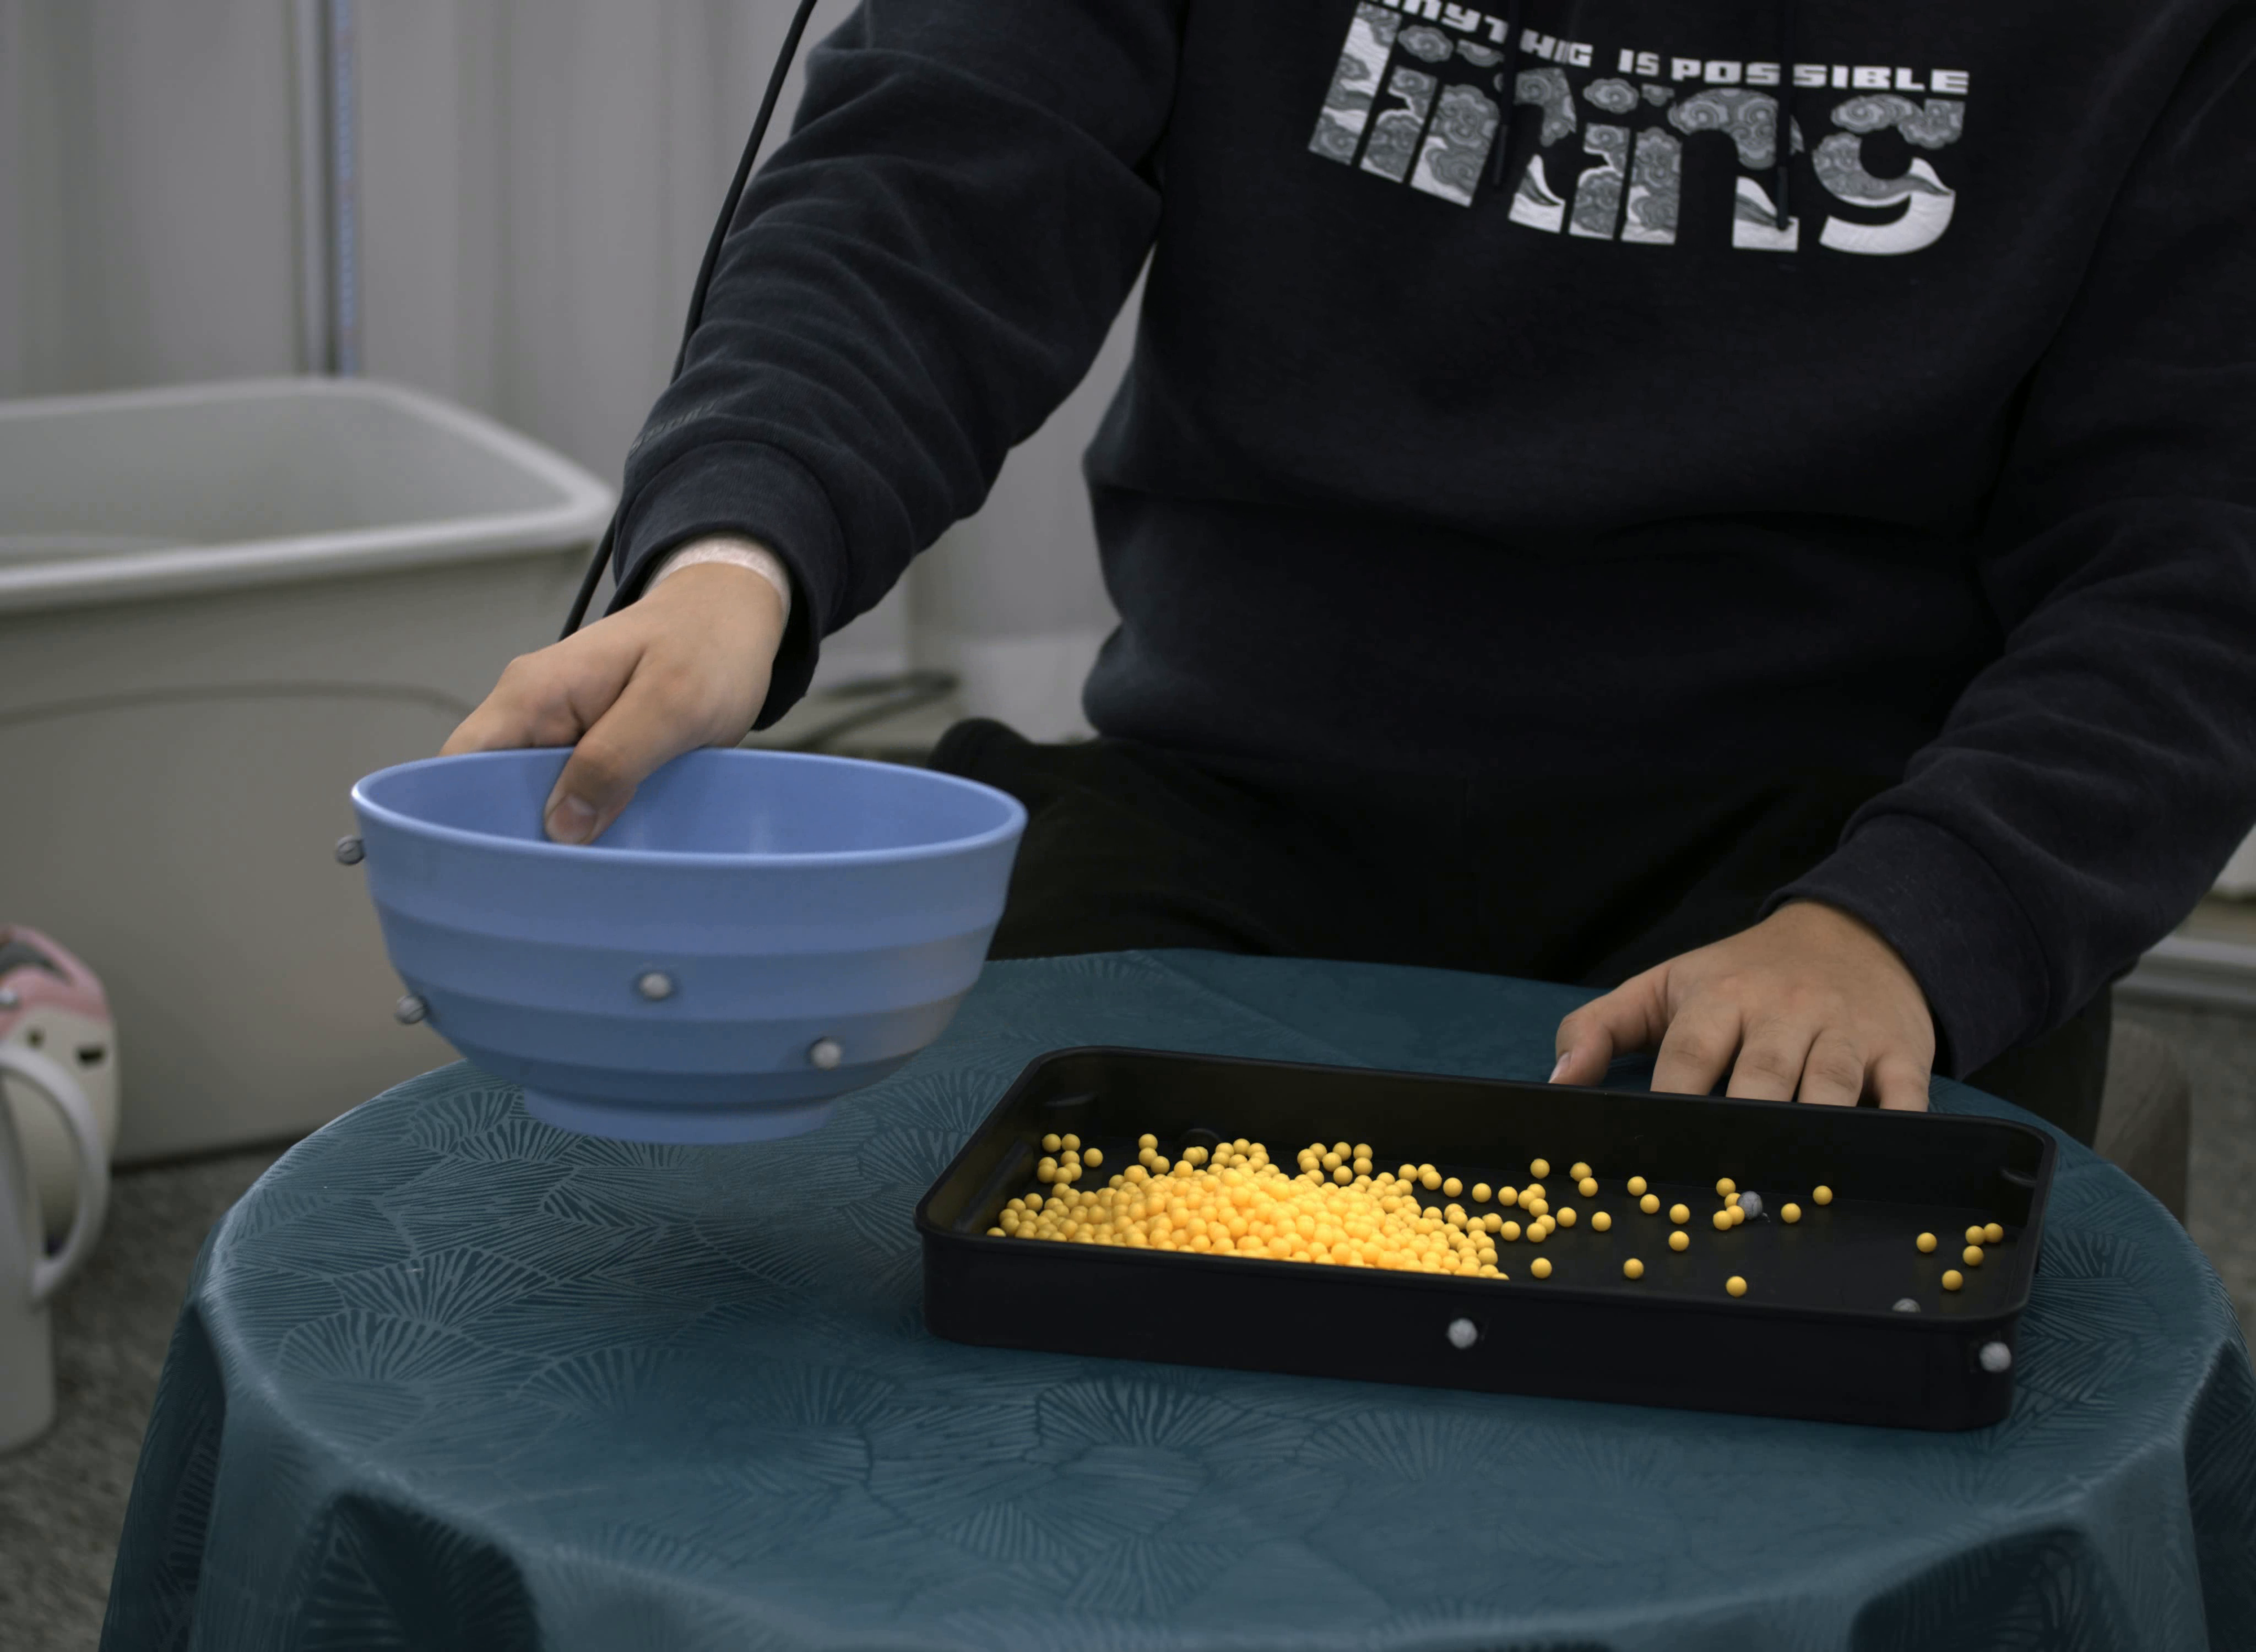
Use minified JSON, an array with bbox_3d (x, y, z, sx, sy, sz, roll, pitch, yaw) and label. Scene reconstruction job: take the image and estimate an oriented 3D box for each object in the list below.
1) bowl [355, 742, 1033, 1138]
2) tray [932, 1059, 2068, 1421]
[{"bbox_3d":[-0.126,0.035,1.533,0.196,0.096,0.196,2,10,0],"label":"bowl"},{"bbox_3d":[0.113,0.119,1.547,0.316,0.037,0.184,2,15,10],"label":"tray"}]
